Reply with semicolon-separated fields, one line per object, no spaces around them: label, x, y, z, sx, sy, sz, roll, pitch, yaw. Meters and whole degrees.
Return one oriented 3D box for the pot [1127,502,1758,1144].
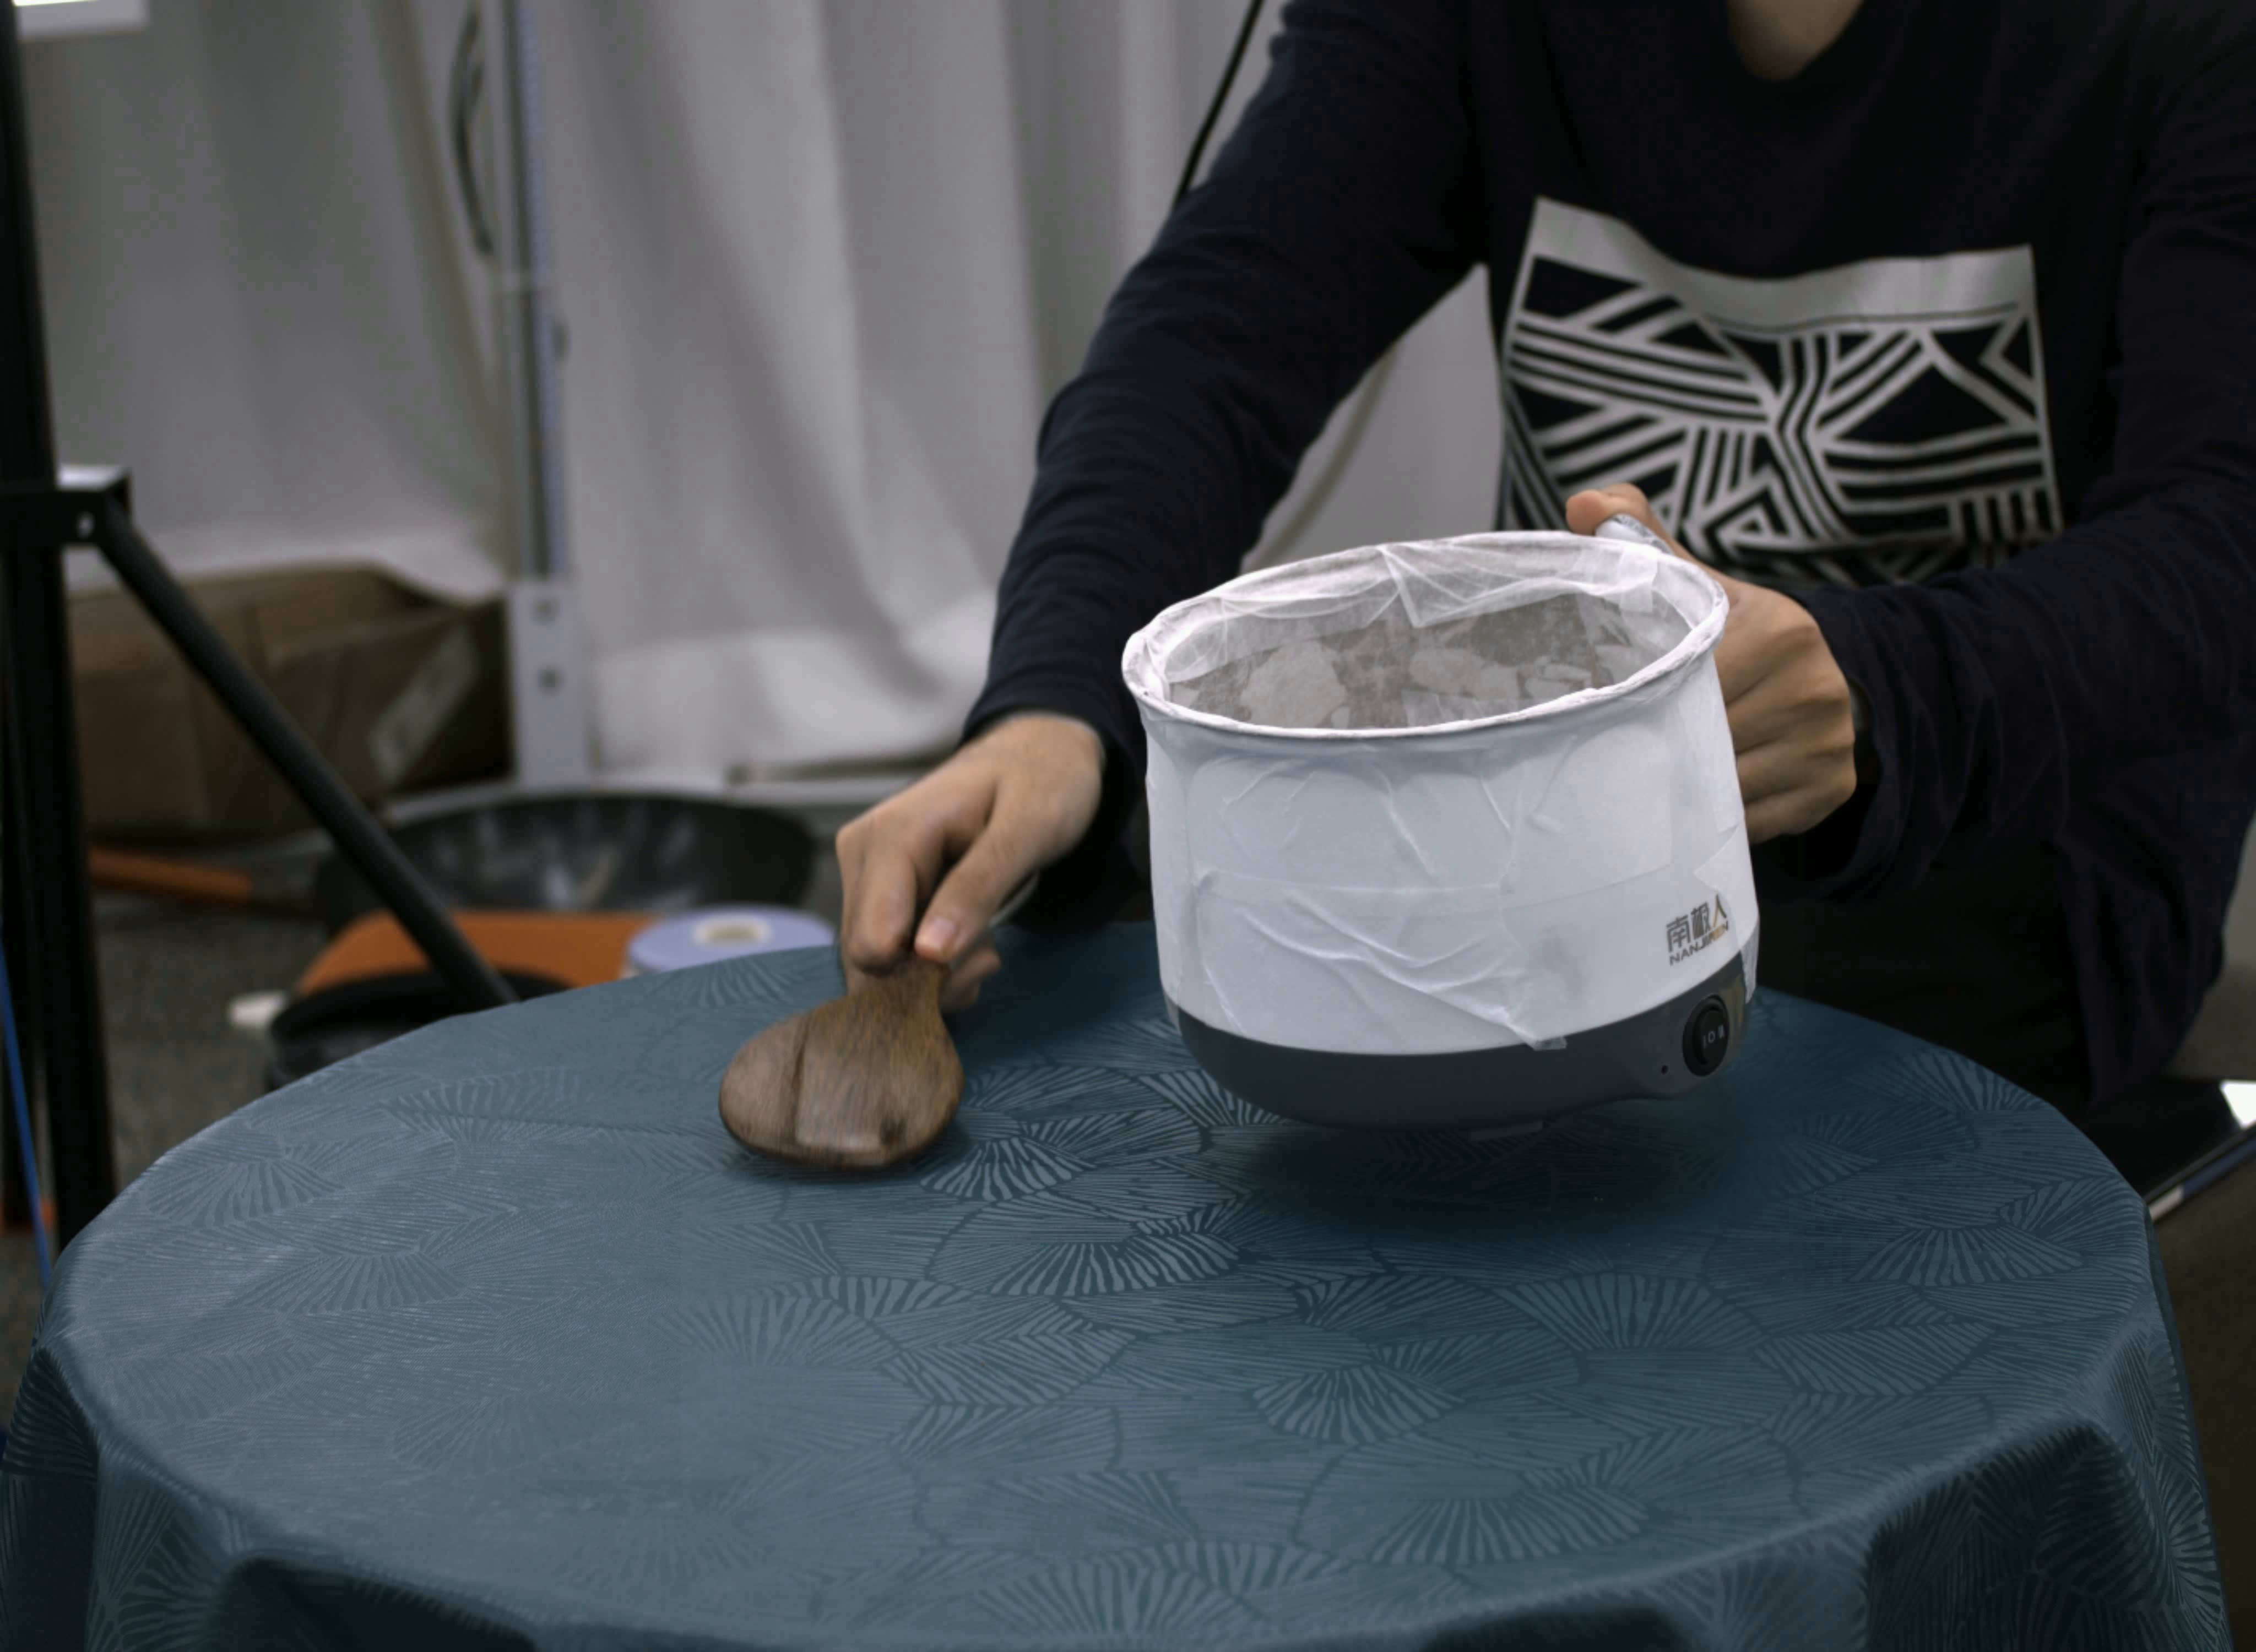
pot;0.110;-0.008;1.572;0.182;0.136;0.229;11;28;37

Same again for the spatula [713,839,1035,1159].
spatula;-0.067;0.051;1.672;0.072;0.009;0.214;10;27;14
